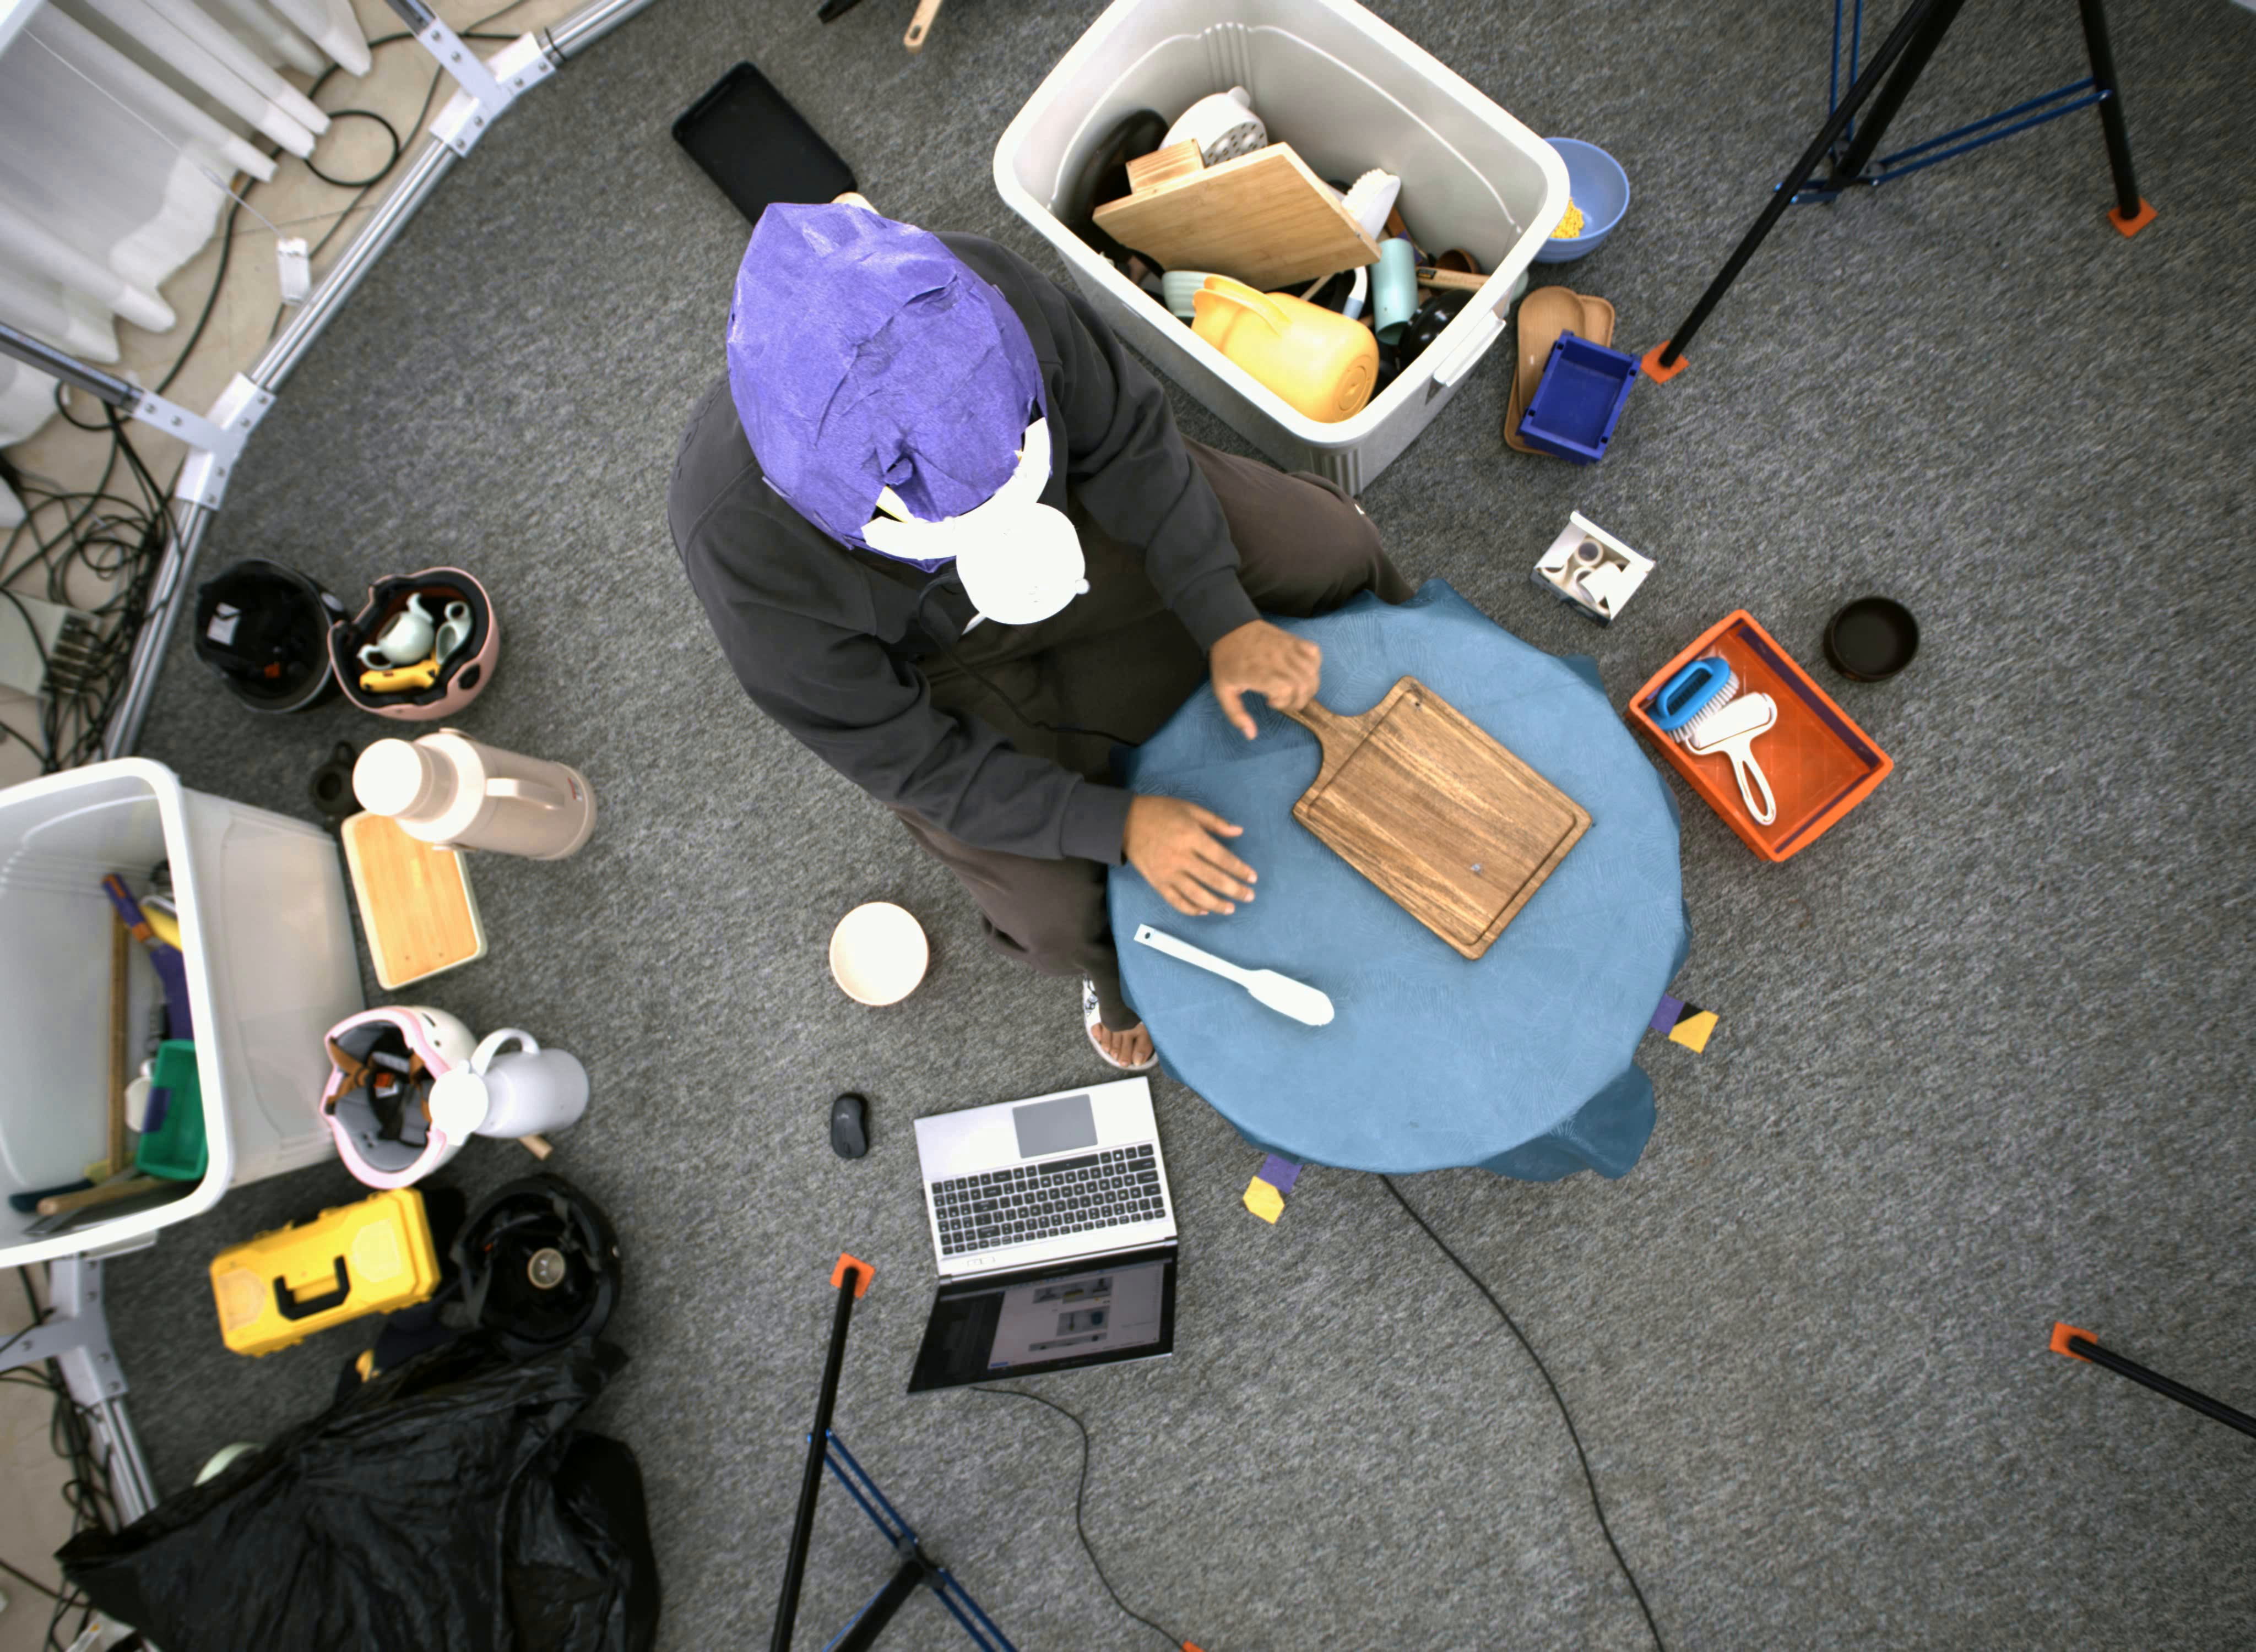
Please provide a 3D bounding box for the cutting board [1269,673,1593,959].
[{"bbox_3d":[0.291,-0.045,1.453,0.351,0.023,0.201,40,94,11],"label":"cutting board"}]

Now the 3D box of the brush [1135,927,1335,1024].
[{"bbox_3d":[0.110,0.156,1.471,0.228,0.050,0.037,20,82,20],"label":"brush"}]
